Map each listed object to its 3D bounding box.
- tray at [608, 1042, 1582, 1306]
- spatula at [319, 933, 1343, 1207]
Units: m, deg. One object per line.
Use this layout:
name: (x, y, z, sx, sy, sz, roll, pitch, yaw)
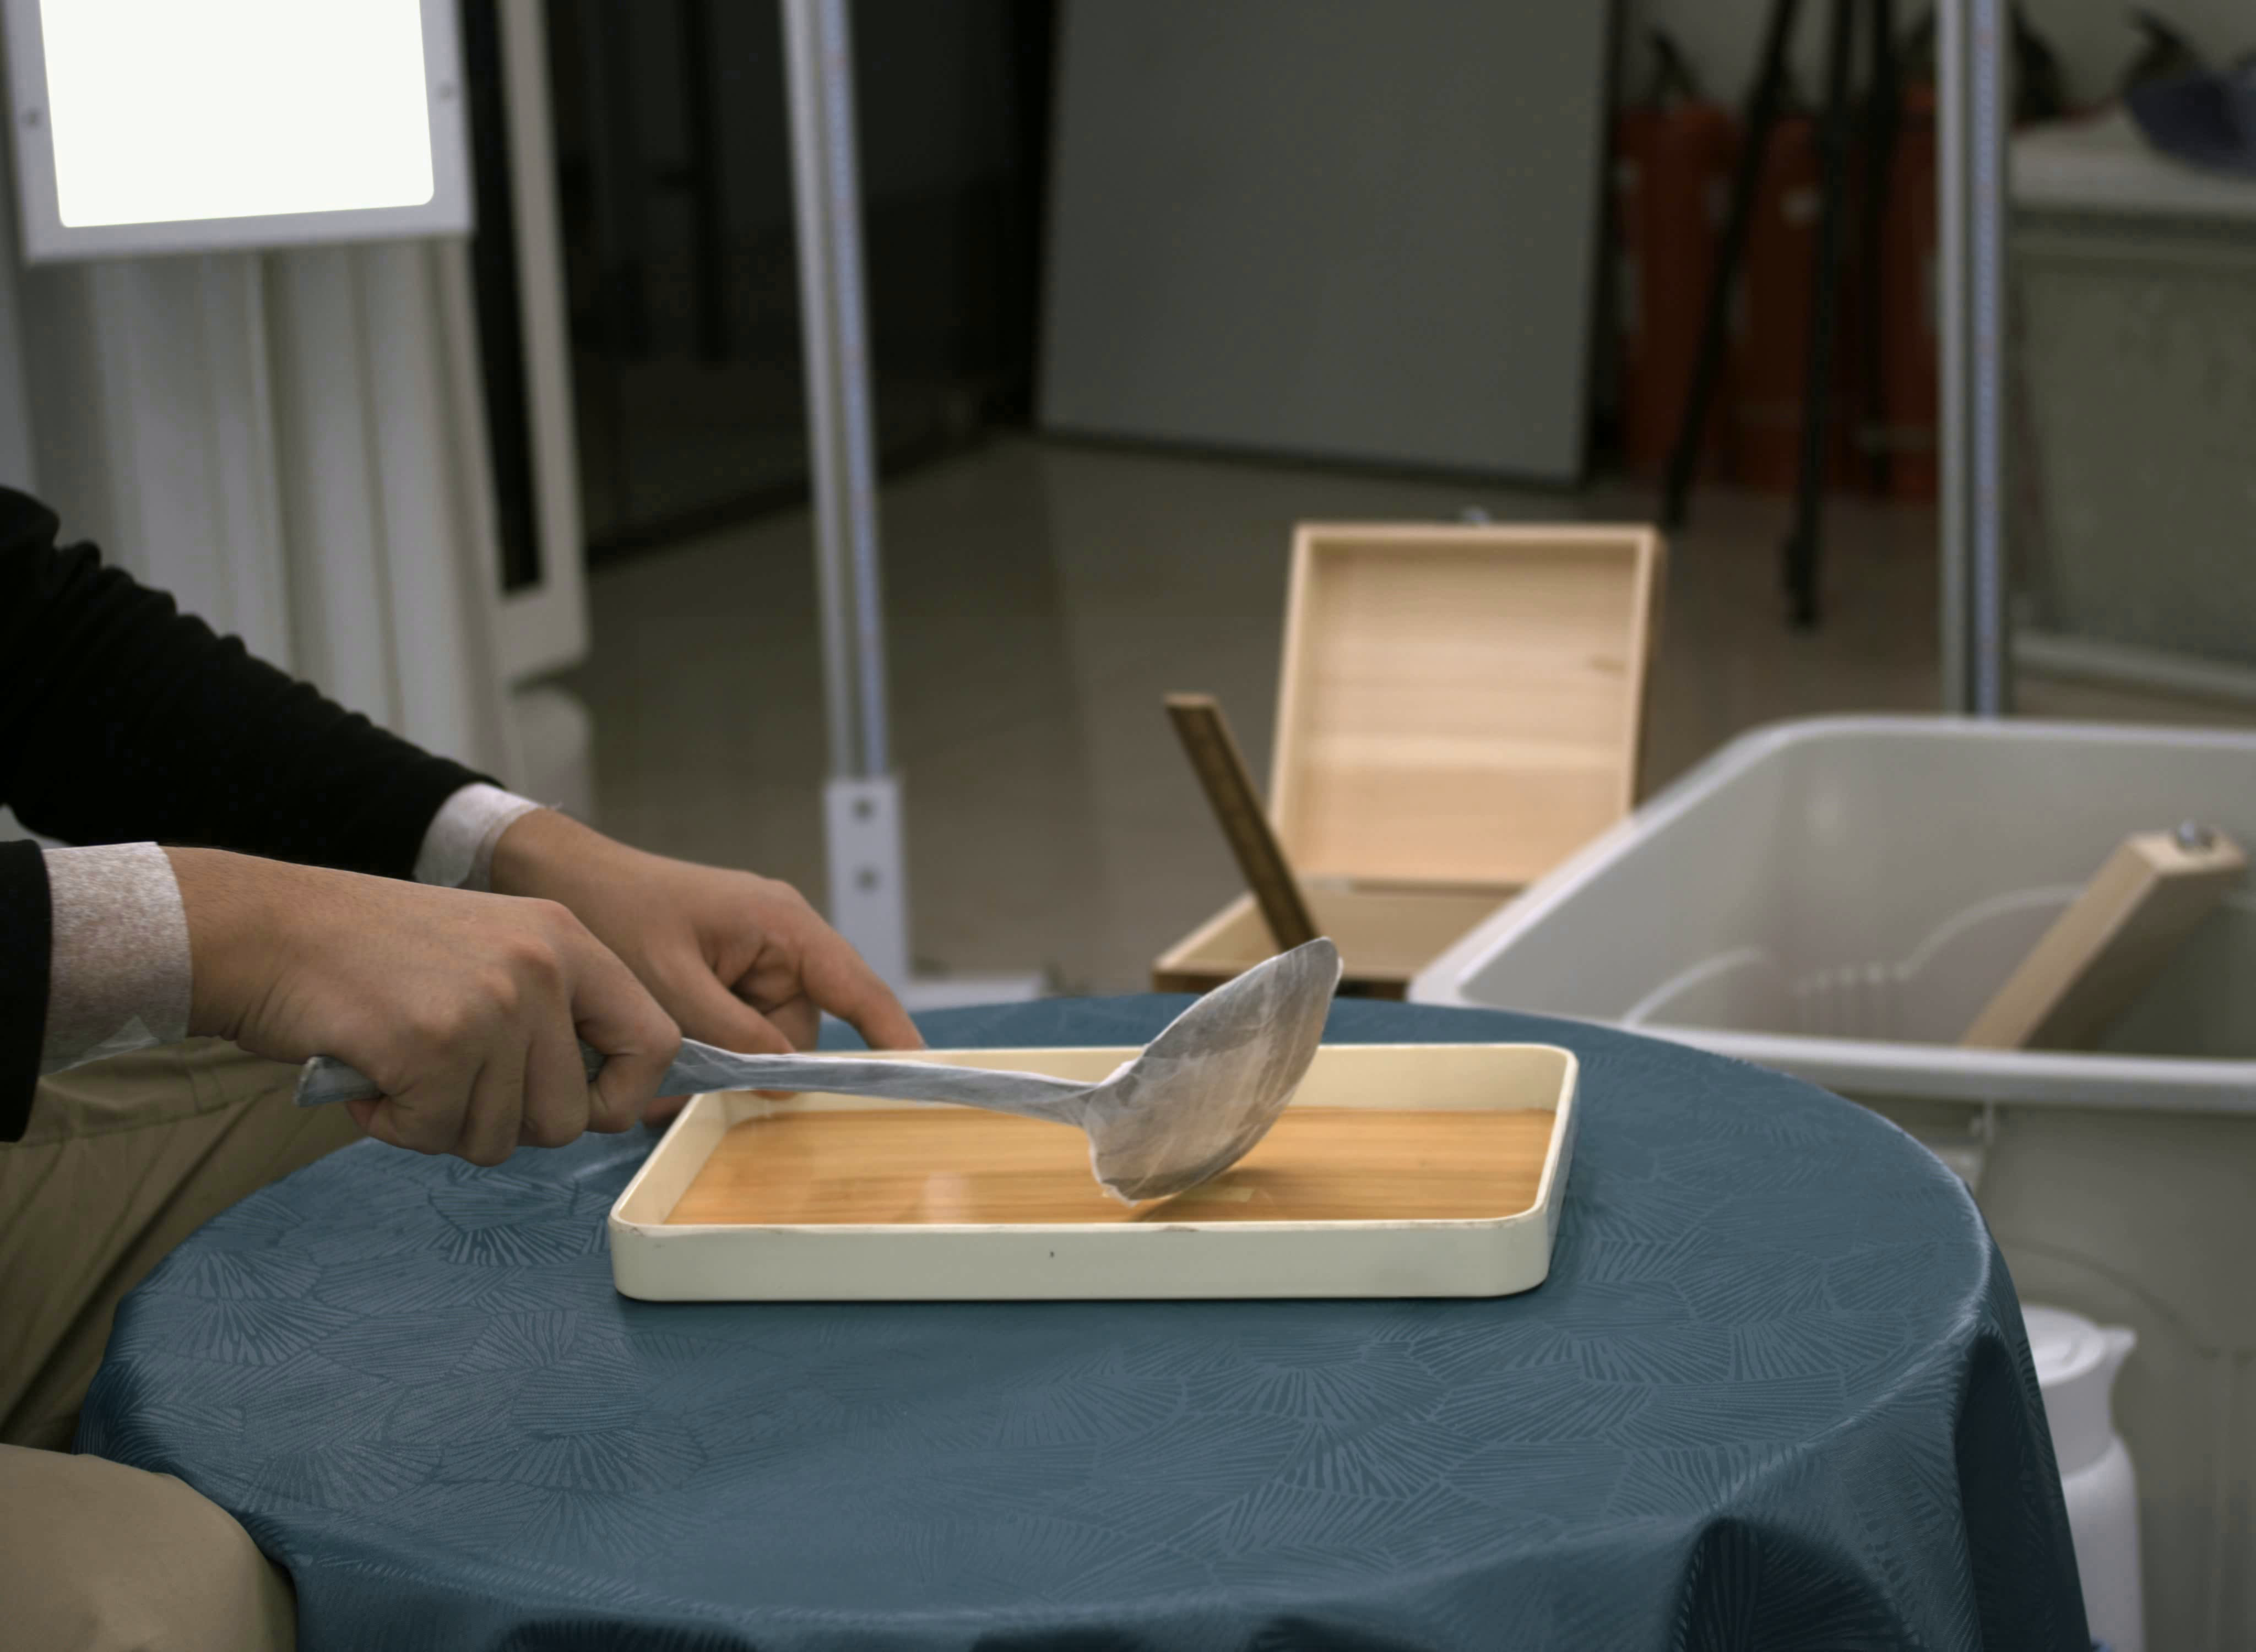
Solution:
tray: (-0.005, 0.112, 1.751, 0.298, 0.028, 0.191, -2, 14, 11)
spatula: (-0.083, 0.076, 1.650, 0.356, 0.100, 0.045, 3, 33, -30)
